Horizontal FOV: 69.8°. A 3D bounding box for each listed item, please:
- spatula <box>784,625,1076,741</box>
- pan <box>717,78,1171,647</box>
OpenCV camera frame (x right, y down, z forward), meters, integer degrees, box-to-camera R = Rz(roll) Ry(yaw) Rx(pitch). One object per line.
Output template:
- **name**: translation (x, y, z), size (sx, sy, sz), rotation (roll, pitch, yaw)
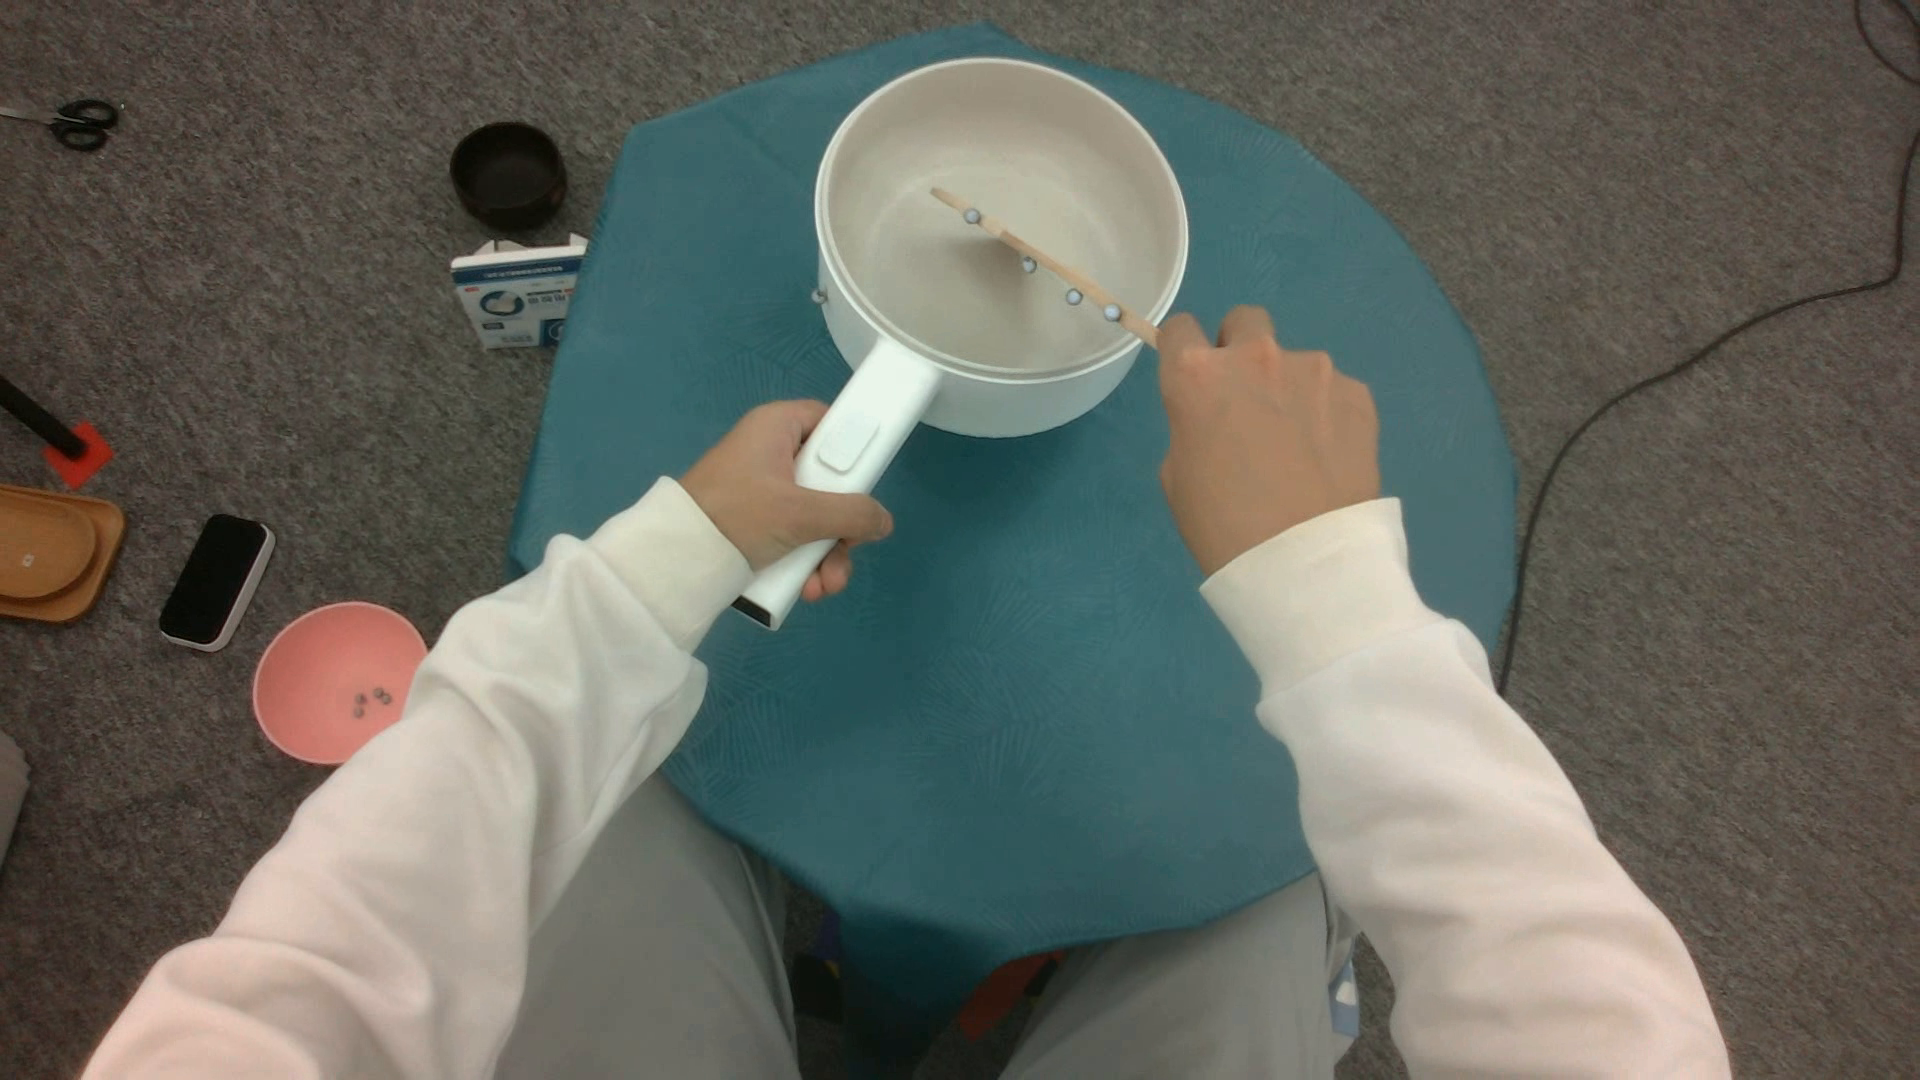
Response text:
- **spatula**: translation (-0.033, 0.133, 1.363), size (0.293, 0.010, 0.072), rotation (14, 68, 3)
- **pan**: translation (-0.023, -0.091, 0.767), size (0.201, 0.101, 0.356), rotation (29, 70, 1)
